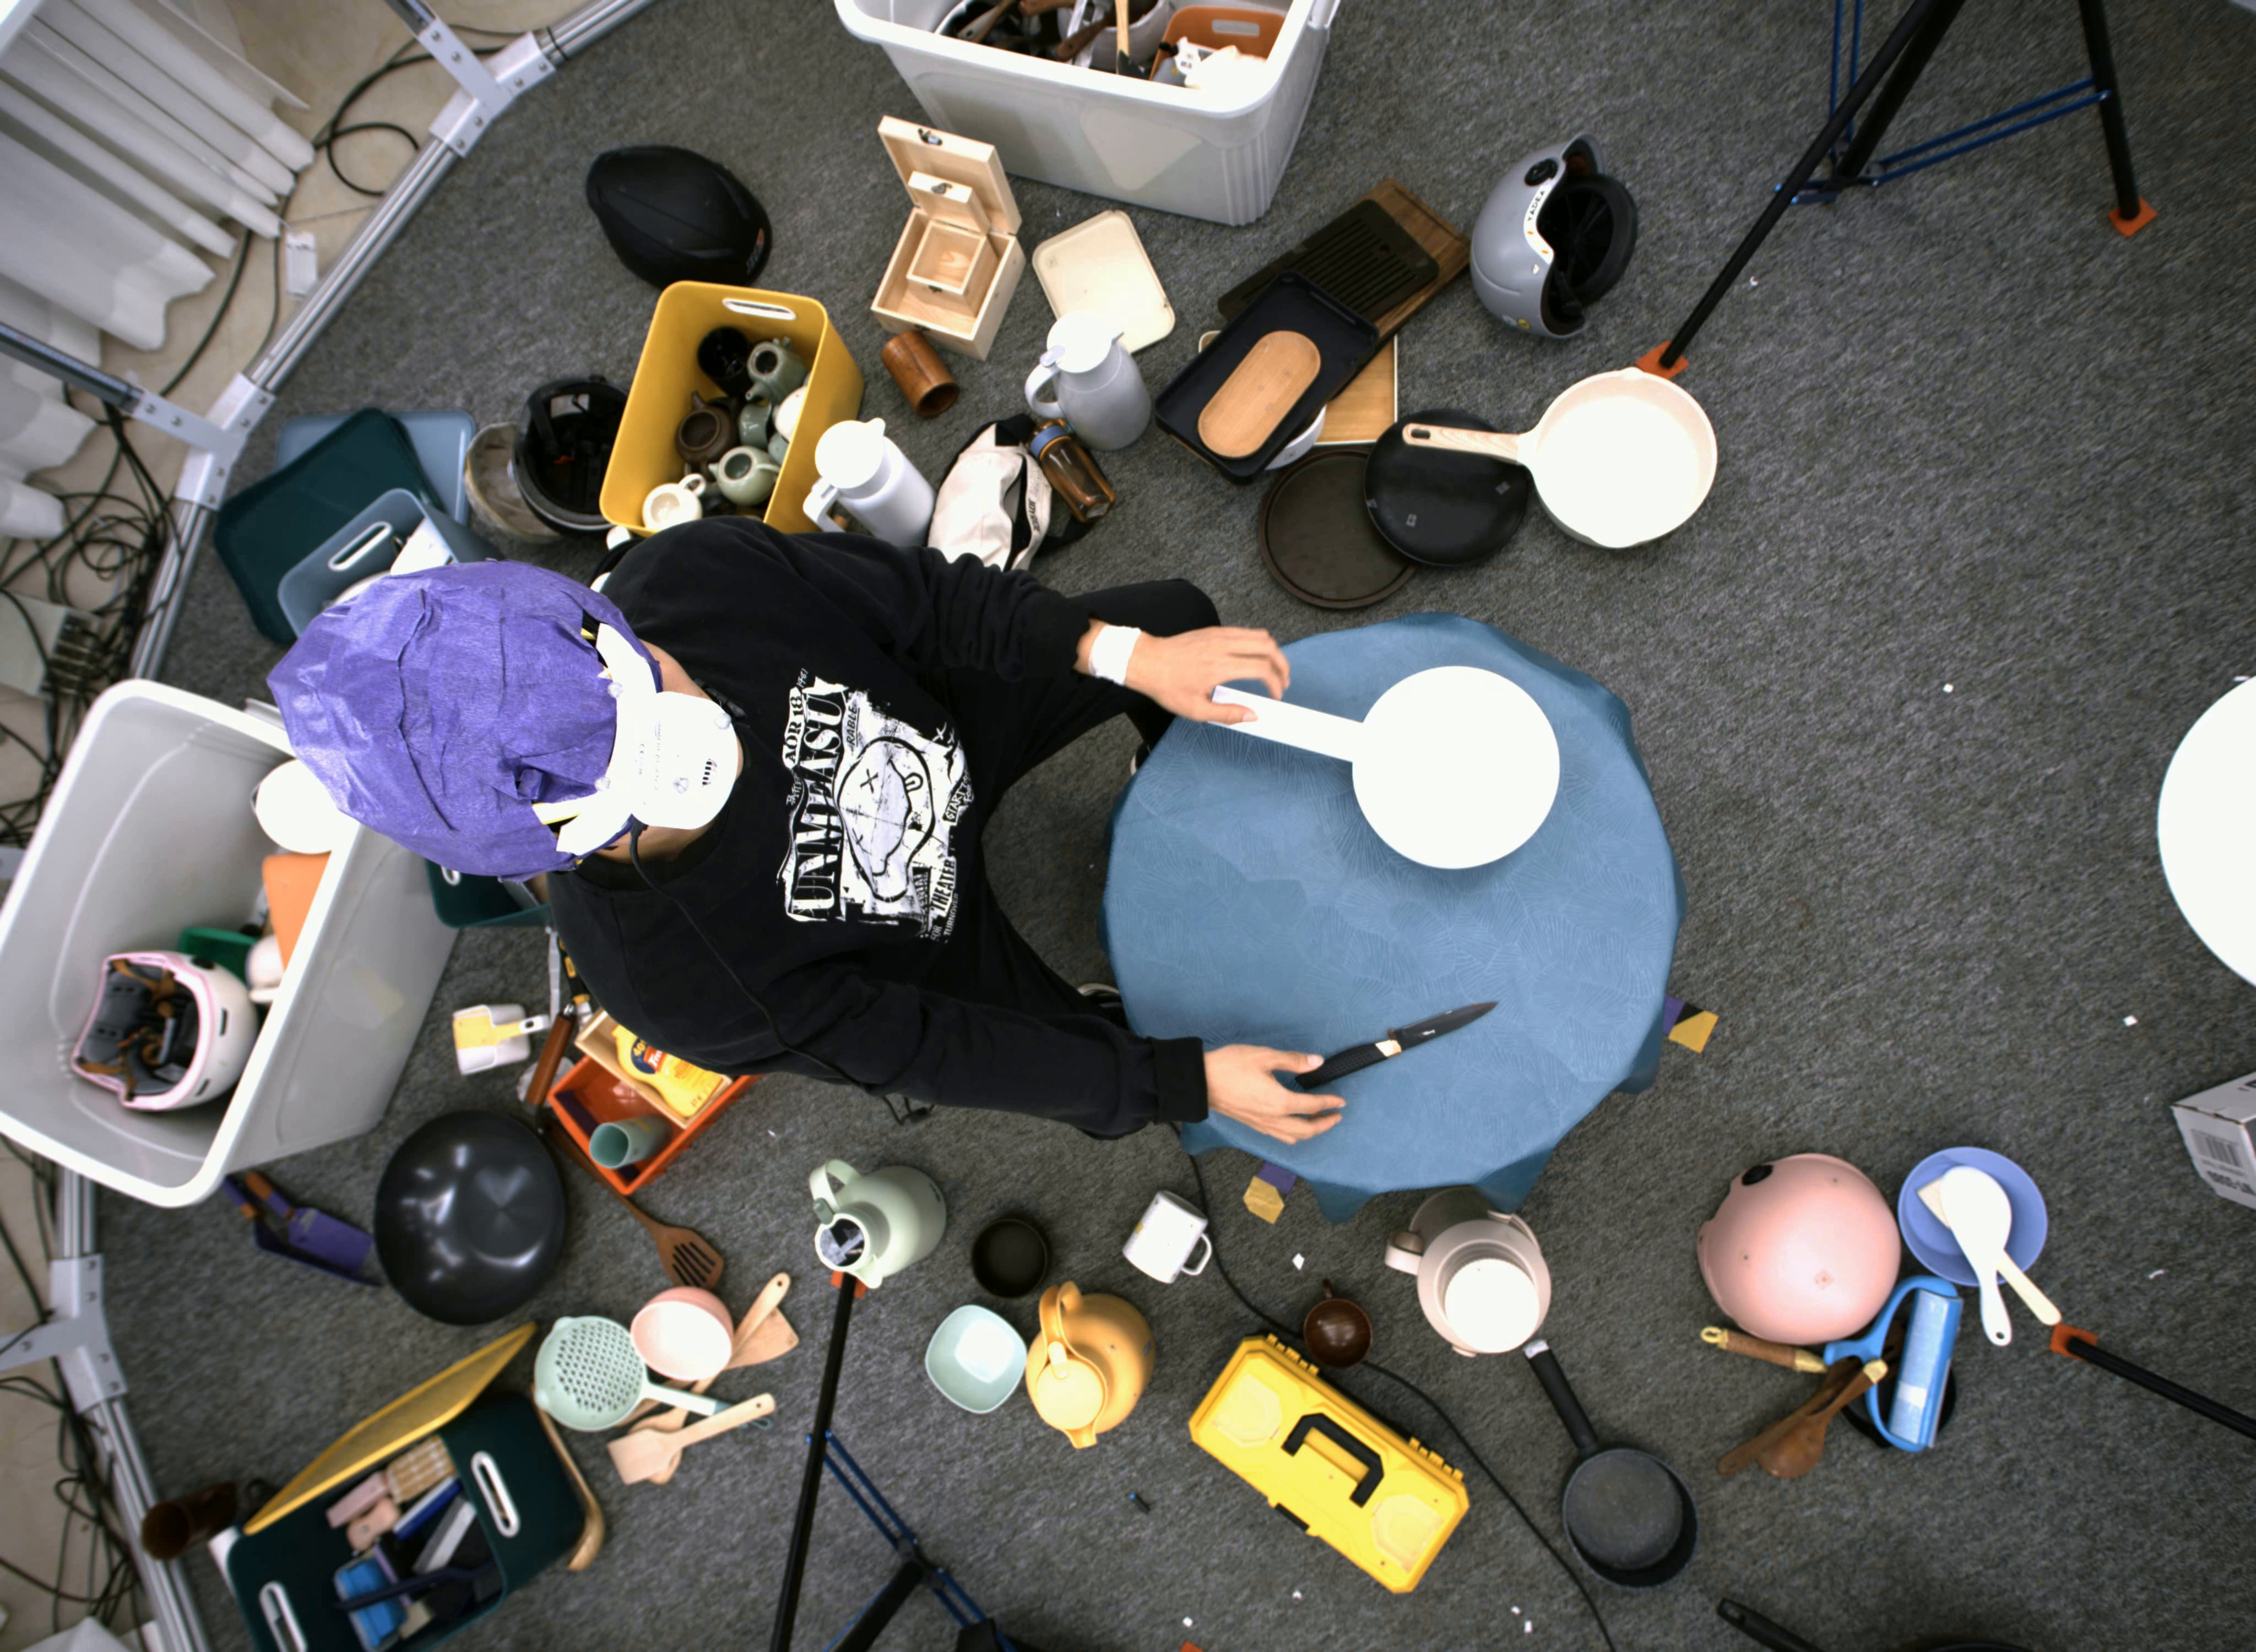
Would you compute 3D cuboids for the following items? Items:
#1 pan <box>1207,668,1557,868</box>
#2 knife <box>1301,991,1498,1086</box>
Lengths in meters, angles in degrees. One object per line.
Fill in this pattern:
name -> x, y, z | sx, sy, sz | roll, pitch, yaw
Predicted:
pan -> 0.259, -0.078, 1.422 | 0.355, 0.102, 0.201 | 16, 91, 12
knife -> 0.284, 0.221, 1.447 | 0.227, 0.017, 0.026 | -24, 66, 8
